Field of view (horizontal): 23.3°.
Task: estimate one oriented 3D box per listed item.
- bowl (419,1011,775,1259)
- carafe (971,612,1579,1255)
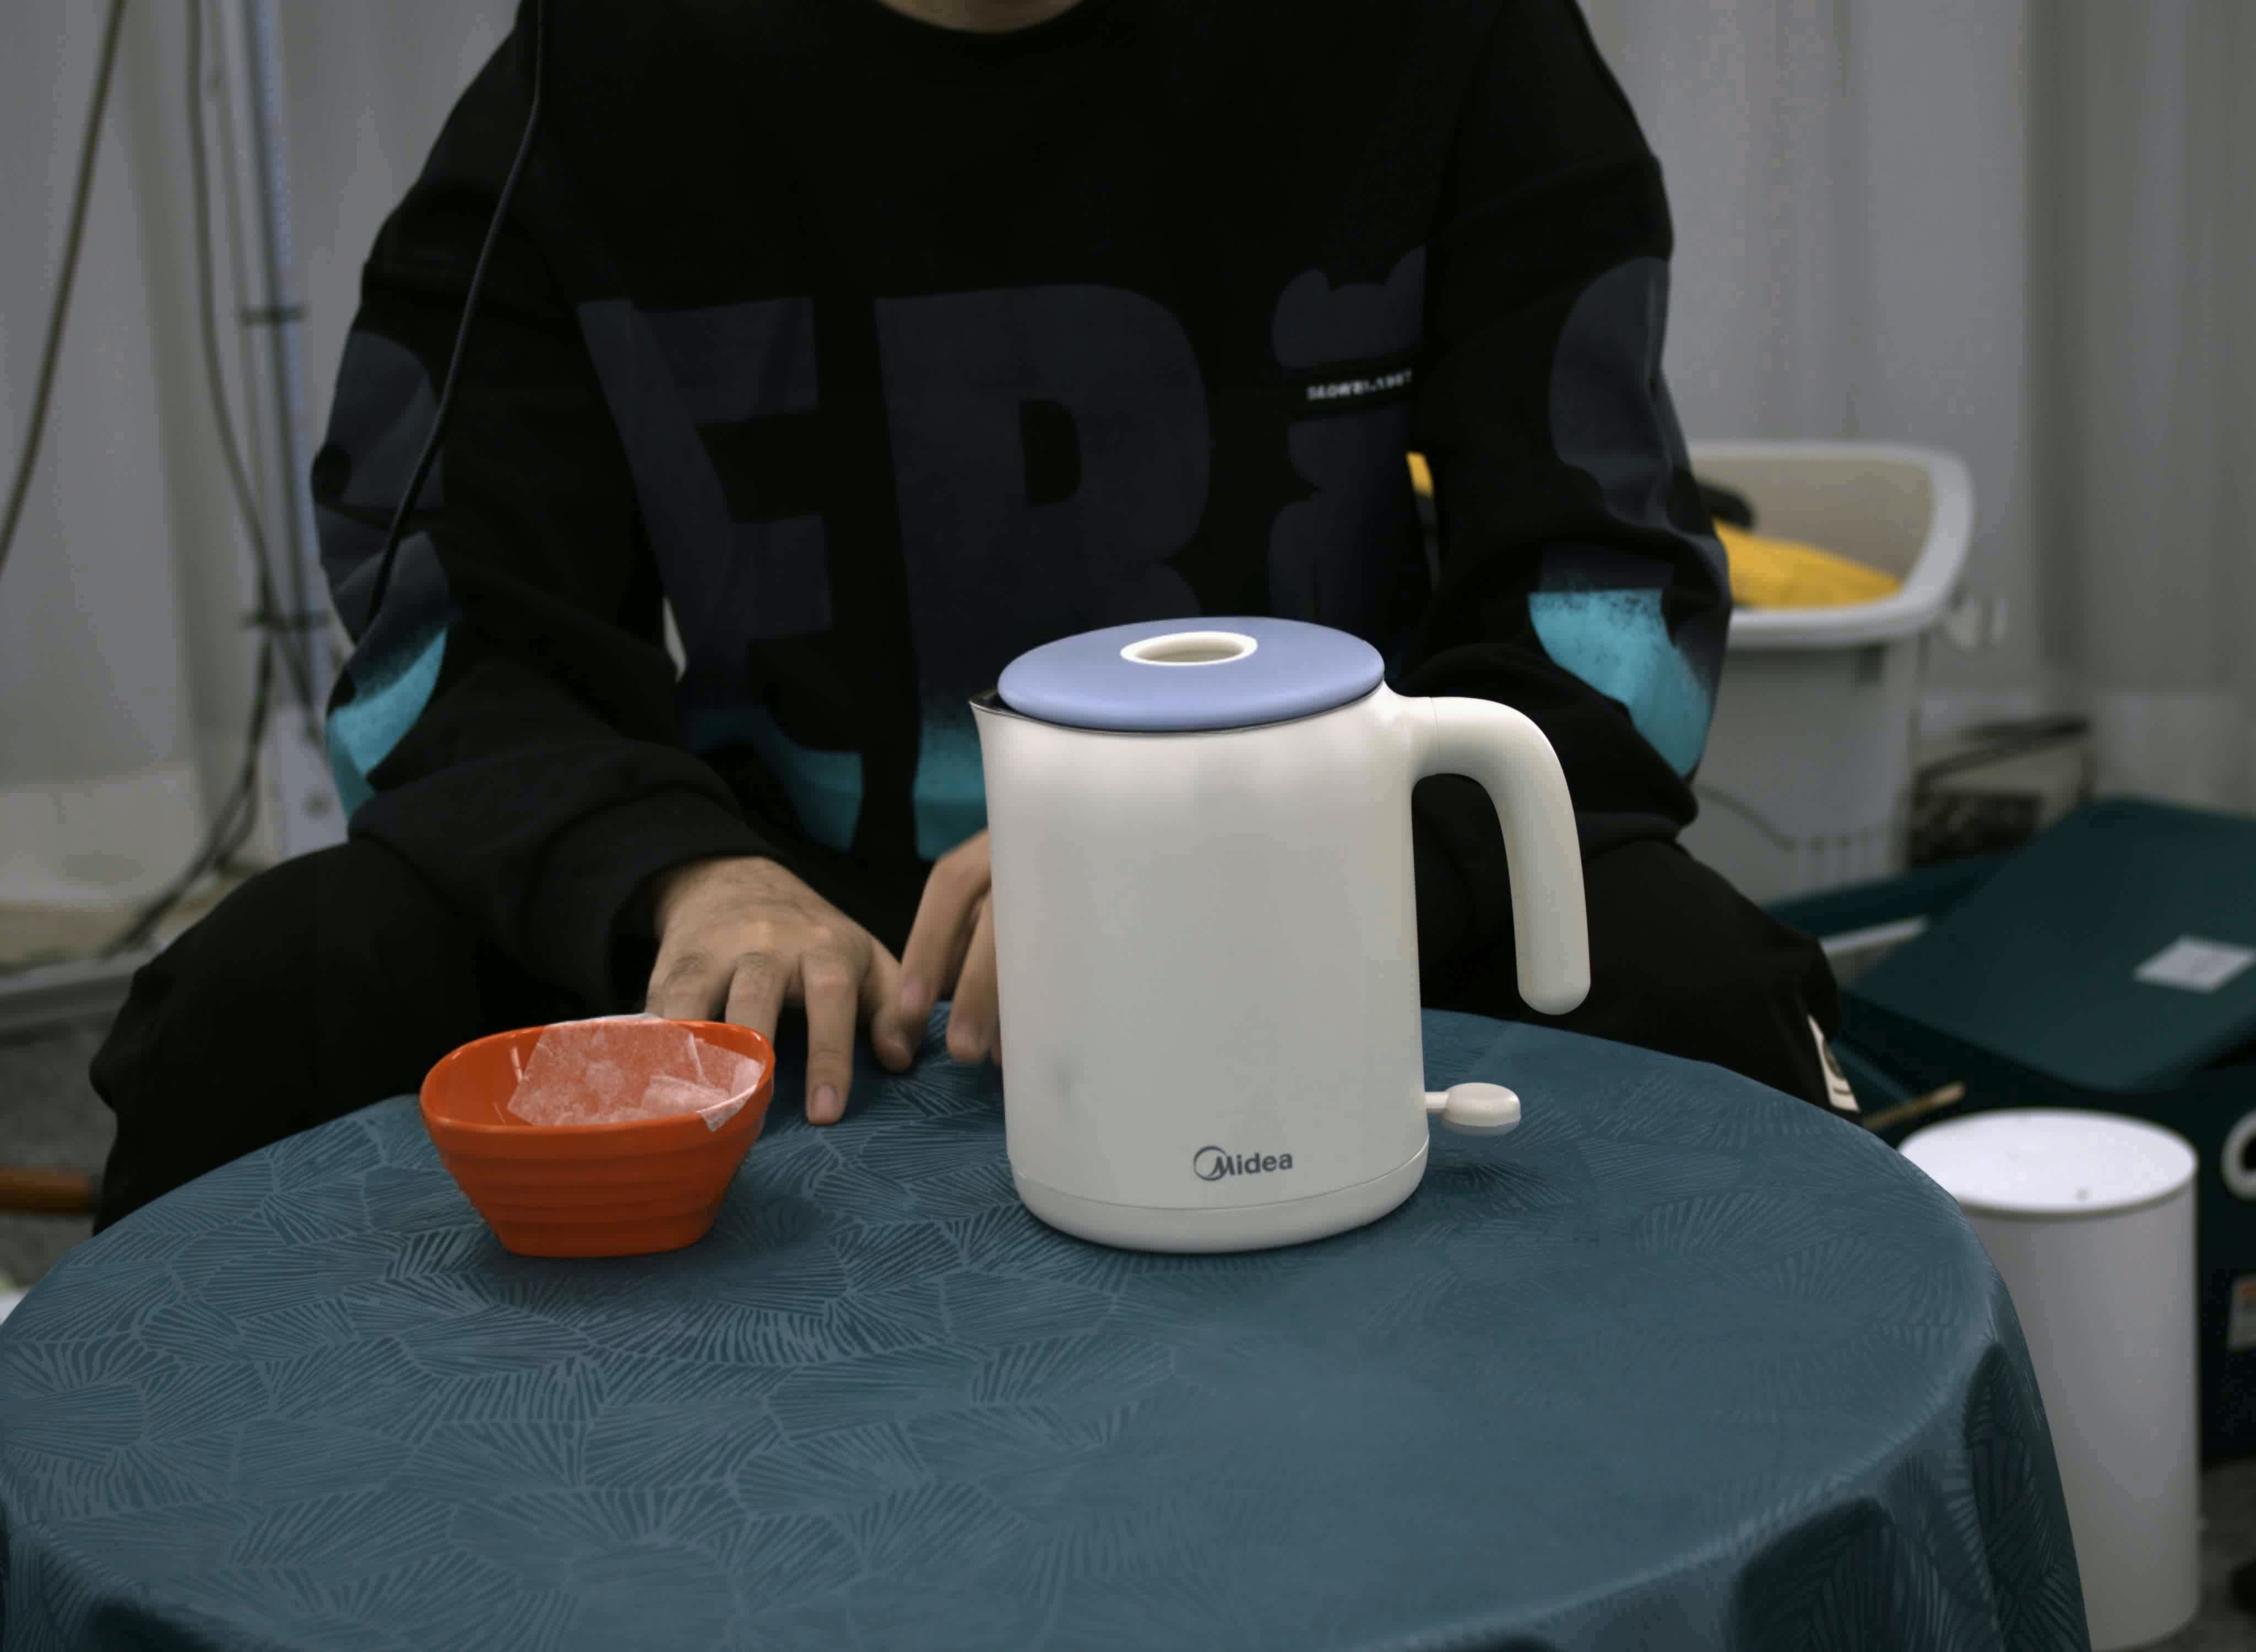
[{"bbox_3d":[-0.163,0.099,1.704,0.118,0.051,0.120,-5,17,1],"label":"bowl"},{"bbox_3d":[0.047,0.031,1.692,0.190,0.182,0.133,-3,15,-8],"label":"carafe"}]
